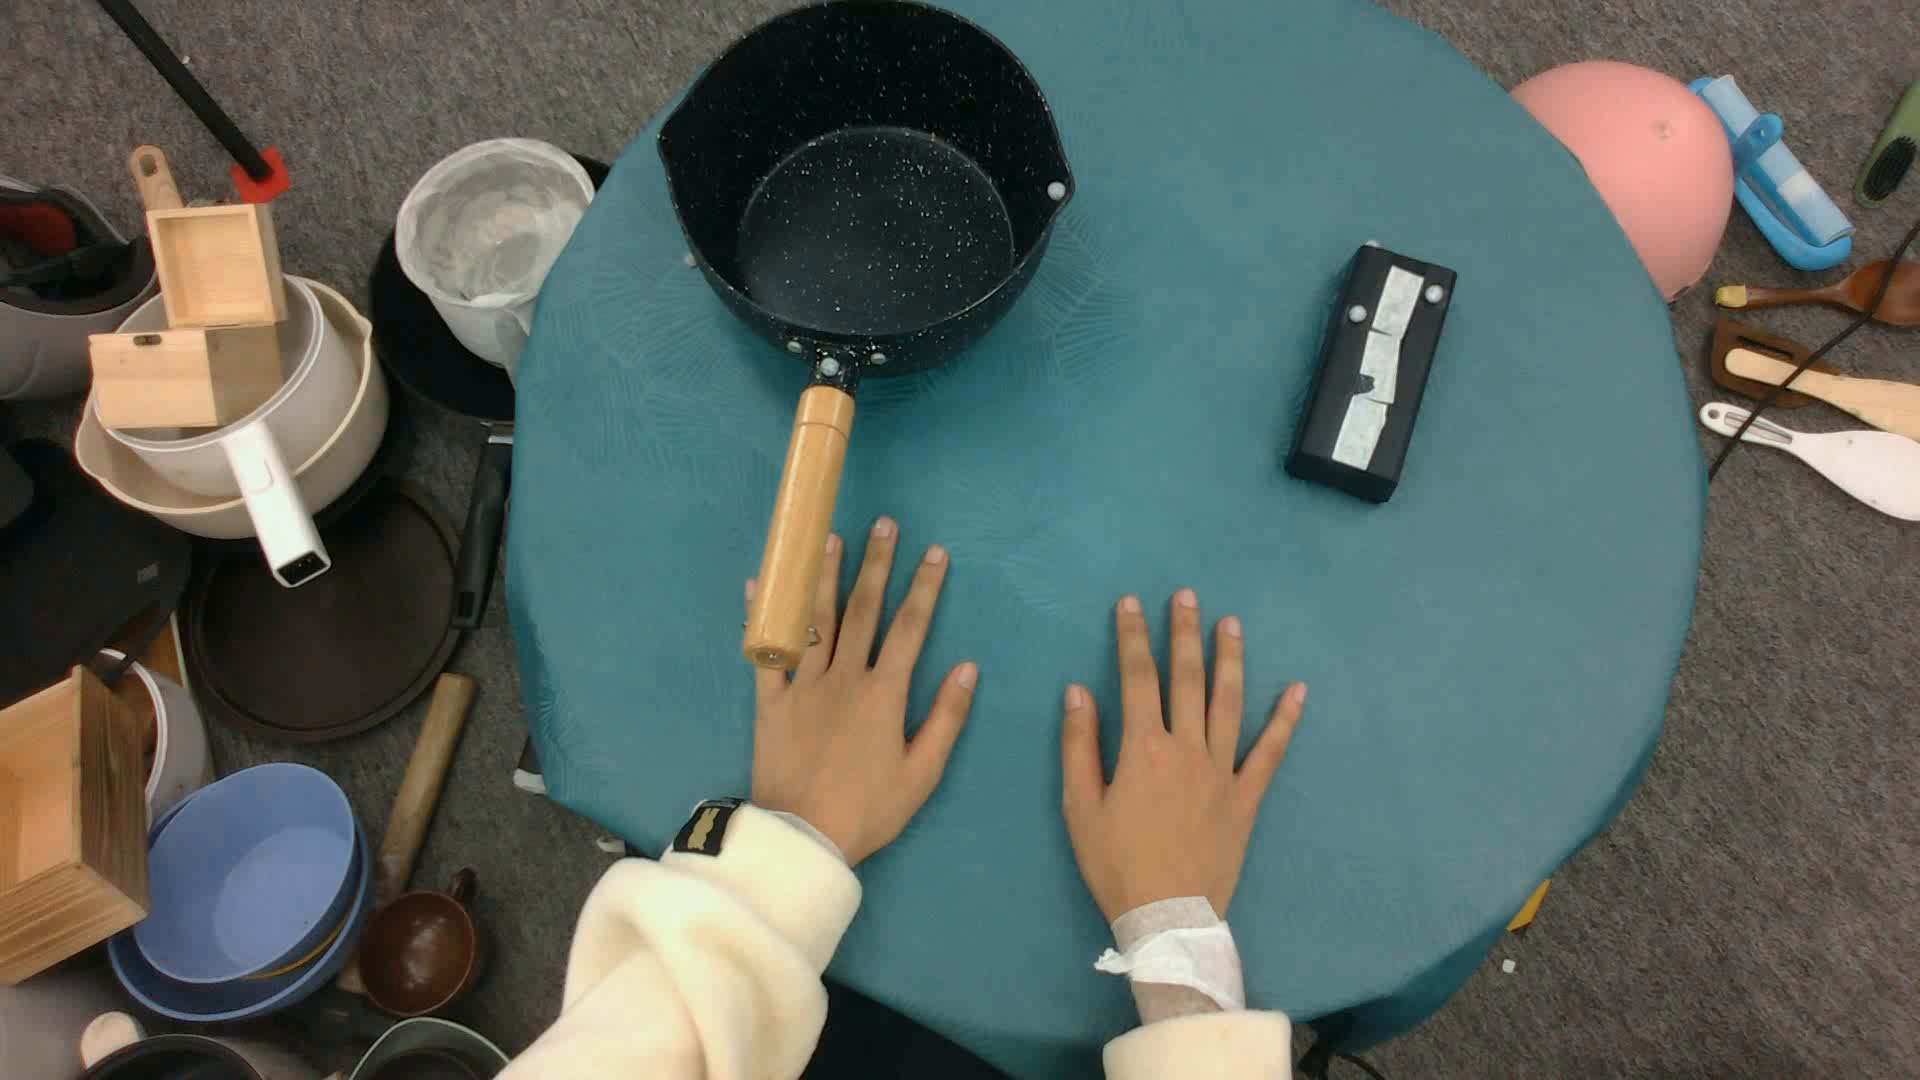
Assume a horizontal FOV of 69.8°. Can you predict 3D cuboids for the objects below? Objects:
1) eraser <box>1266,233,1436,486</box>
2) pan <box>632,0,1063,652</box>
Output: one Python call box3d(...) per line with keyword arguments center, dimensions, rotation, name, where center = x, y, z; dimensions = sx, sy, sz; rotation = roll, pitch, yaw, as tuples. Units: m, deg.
box3d(center=(0.197, -0.092, 0.696), dimensions=(0.053, 0.030, 0.126), rotation=(19, 74, 6), name="eraser")
box3d(center=(-0.062, -0.102, 0.653), dimensions=(0.207, 0.108, 0.344), rotation=(6, 70, 1), name="pan")
